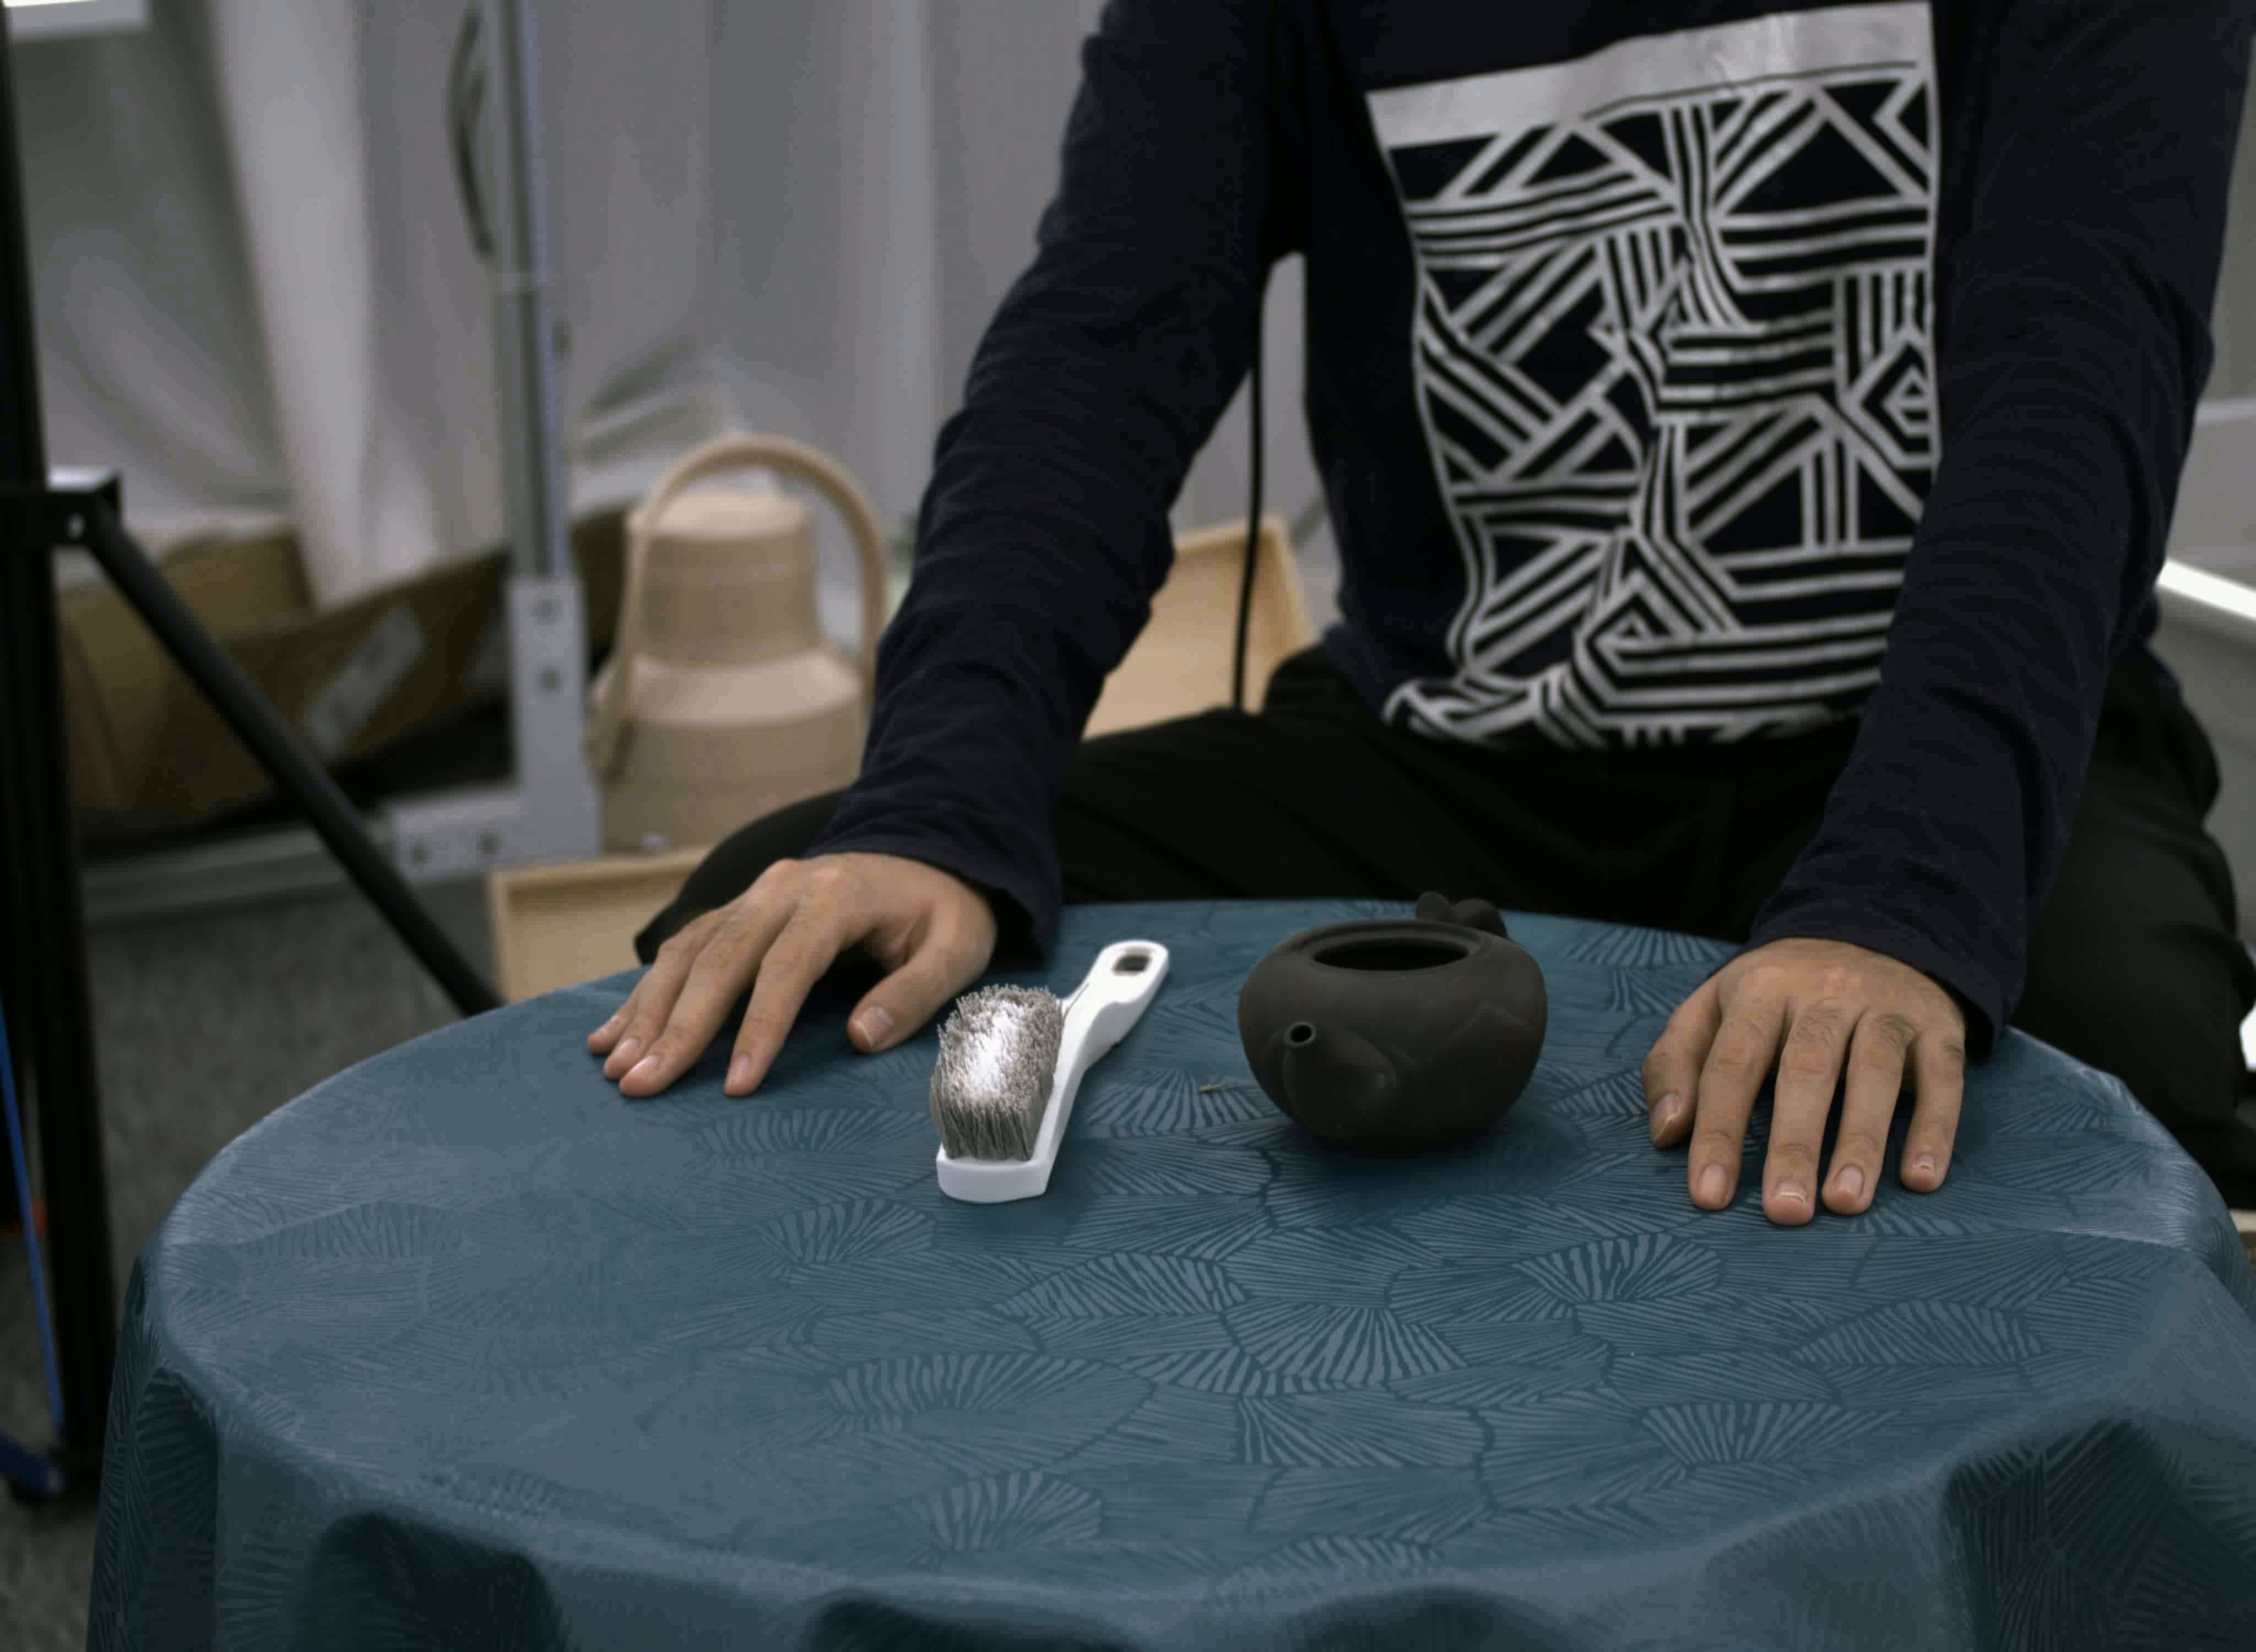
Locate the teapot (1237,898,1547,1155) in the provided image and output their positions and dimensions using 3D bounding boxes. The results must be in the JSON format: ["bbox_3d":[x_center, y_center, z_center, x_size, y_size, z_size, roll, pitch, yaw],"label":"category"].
[{"bbox_3d":[0.081,0.061,1.602,0.094,0.064,0.151,5,16,27],"label":"teapot"}]

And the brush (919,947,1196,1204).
[{"bbox_3d":[-0.018,0.058,1.656,0.034,0.050,0.242,-3,15,16],"label":"brush"}]
